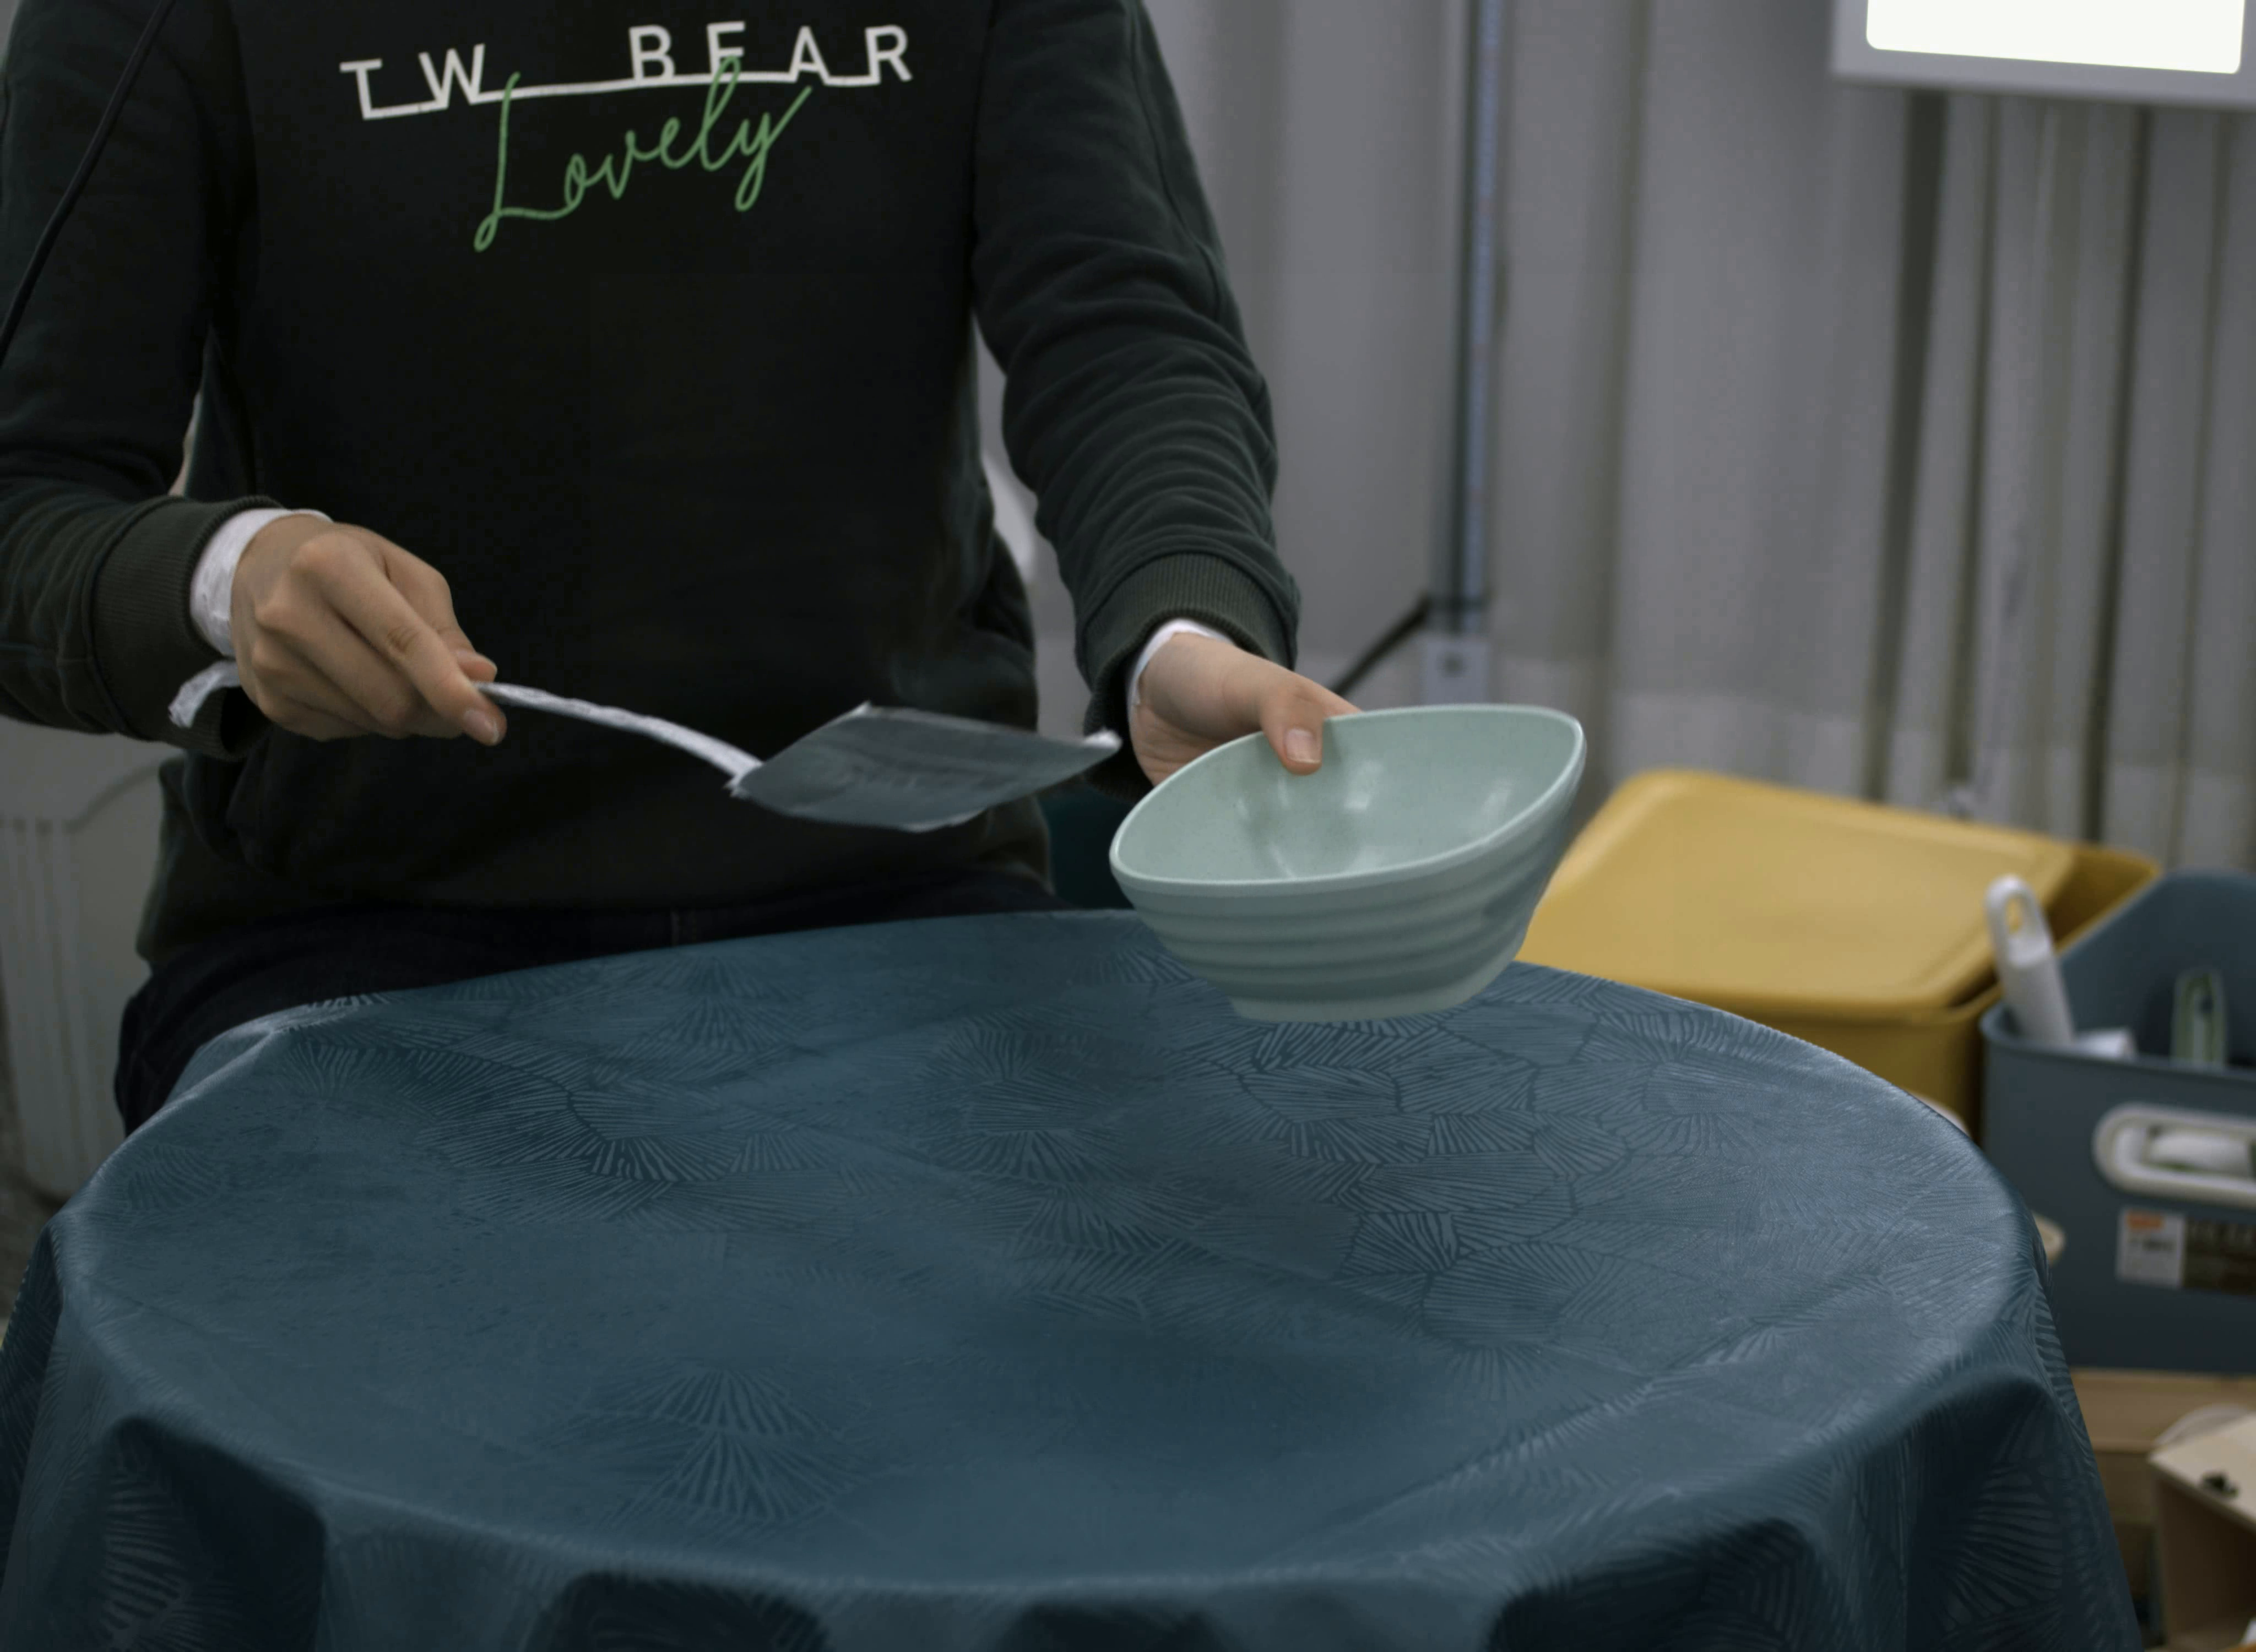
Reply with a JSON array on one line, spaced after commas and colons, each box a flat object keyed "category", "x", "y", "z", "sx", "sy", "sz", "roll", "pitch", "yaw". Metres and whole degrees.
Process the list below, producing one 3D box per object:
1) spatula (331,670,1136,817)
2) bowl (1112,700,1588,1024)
[{"category": "spatula", "x": -0.143, "y": -0.037, "z": 1.582, "sx": 0.099, "sy": 0.045, "sz": 0.360, "roll": 5, "pitch": 5, "yaw": -42}, {"category": "bowl", "x": 0.071, "y": 0.015, "z": 1.580, "sx": 0.151, "sy": 0.059, "sz": 0.150, "roll": -9, "pitch": 22, "yaw": 4}]
